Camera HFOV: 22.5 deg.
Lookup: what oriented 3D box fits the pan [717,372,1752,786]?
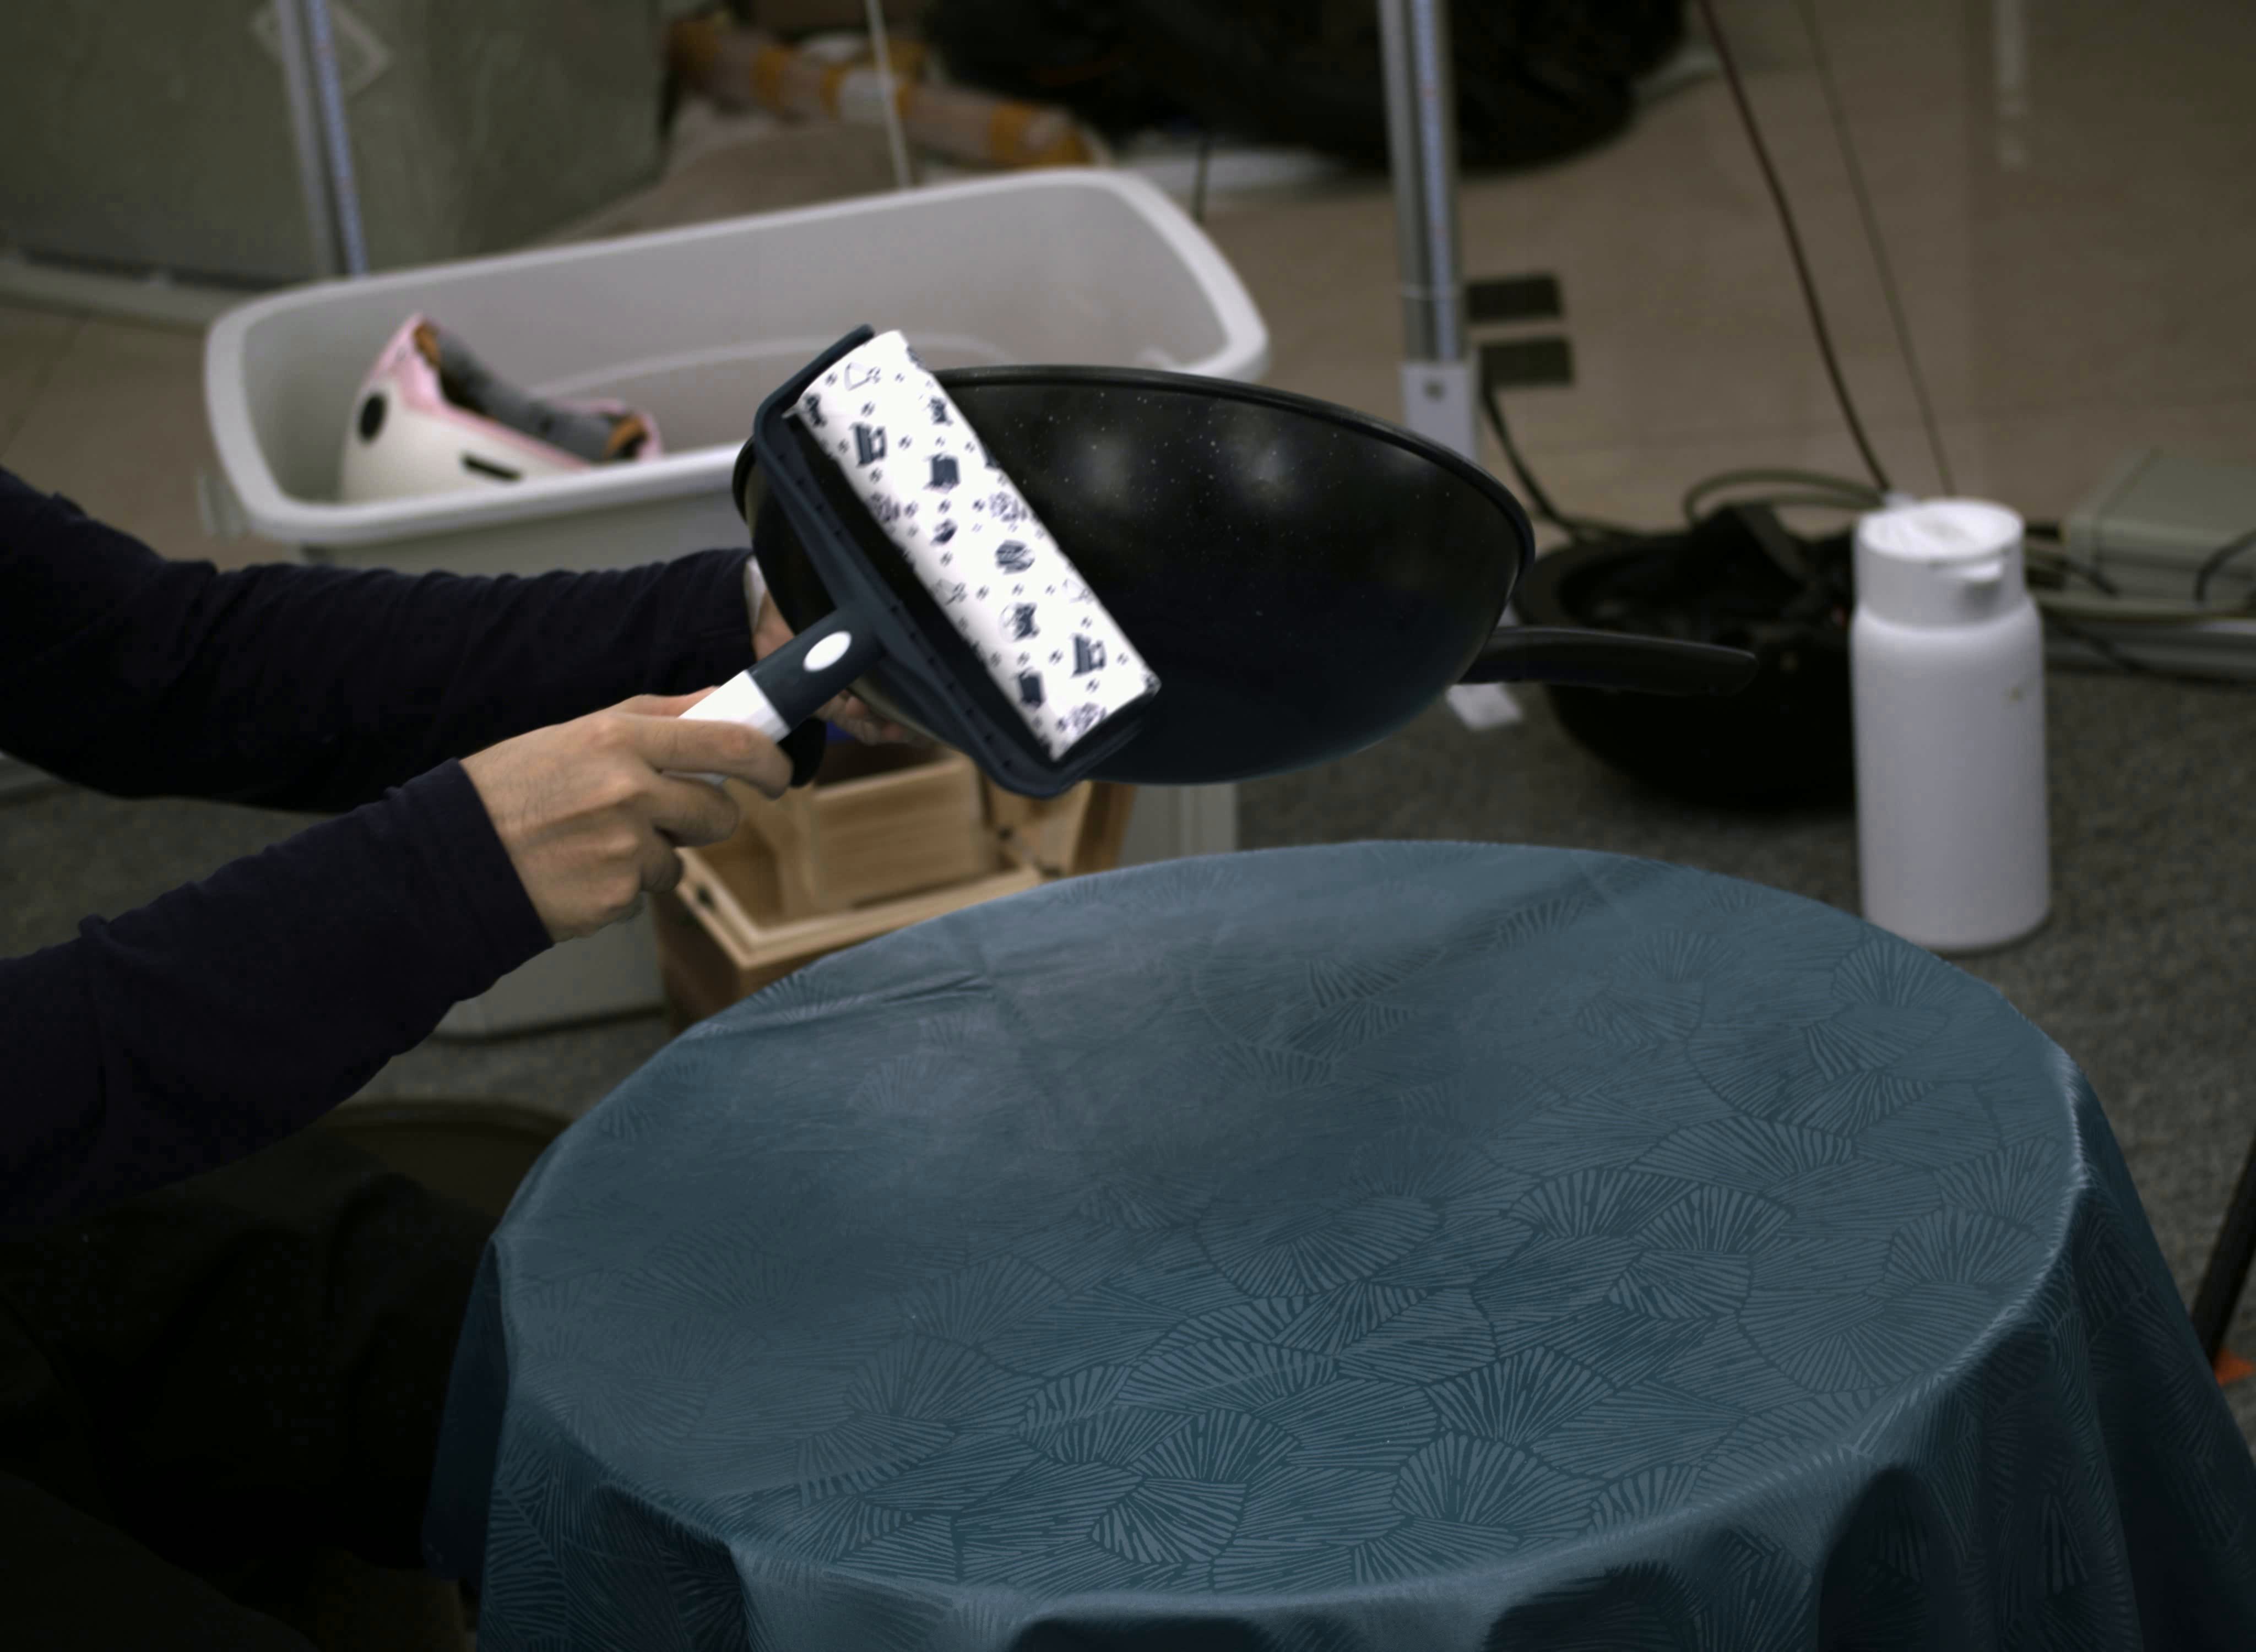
[{"bbox_3d":[0.060,-0.071,2.201,0.479,0.111,0.311,16,-18,-35],"label":"pan"}]

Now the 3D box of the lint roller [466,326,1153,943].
[{"bbox_3d":[-0.134,-0.038,2.013,0.247,0.176,0.050,-38,-4,1],"label":"lint roller"}]
